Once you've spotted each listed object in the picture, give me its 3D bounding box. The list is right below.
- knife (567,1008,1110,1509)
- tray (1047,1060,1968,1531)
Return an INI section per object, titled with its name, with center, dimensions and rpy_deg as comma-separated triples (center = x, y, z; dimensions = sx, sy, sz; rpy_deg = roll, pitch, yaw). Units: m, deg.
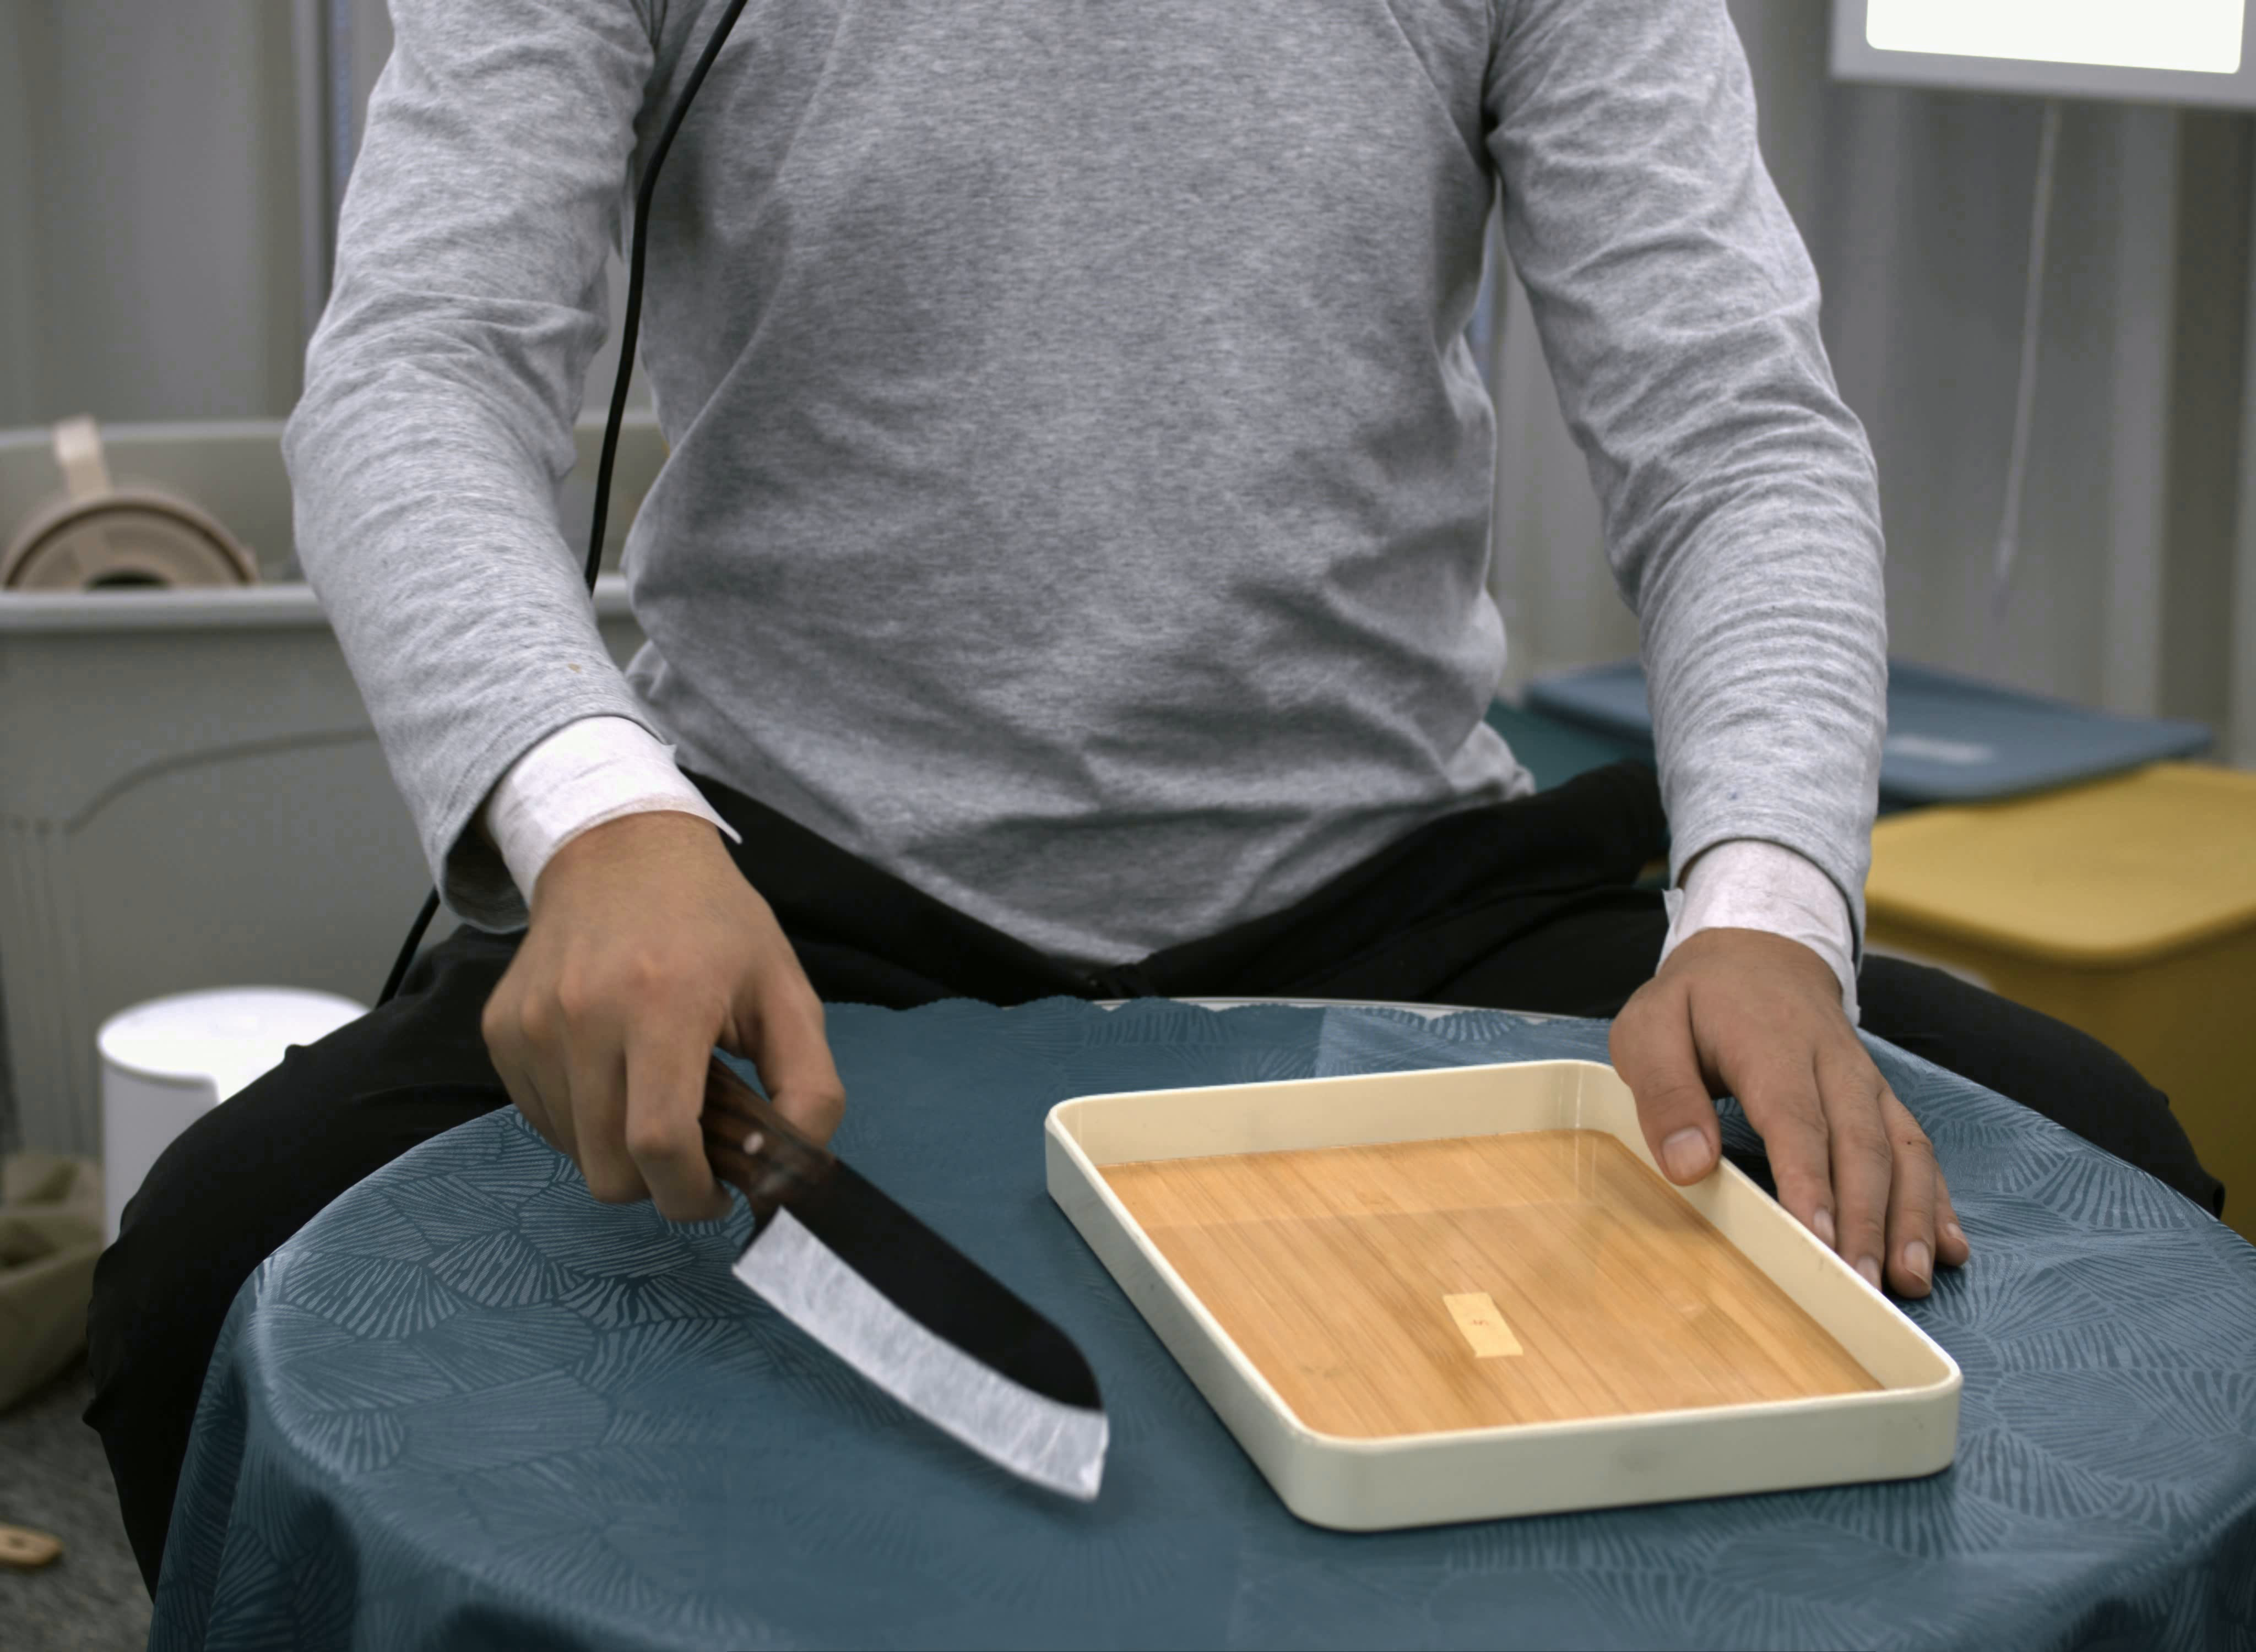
[knife]
center = -0.083, 0.117, 1.468
dimensions = 0.020, 0.050, 0.285
rpy_deg = 43, -5, -42
[tray]
center = 0.100, 0.129, 1.518
dimensions = 0.192, 0.027, 0.297
rpy_deg = -4, 16, -14
